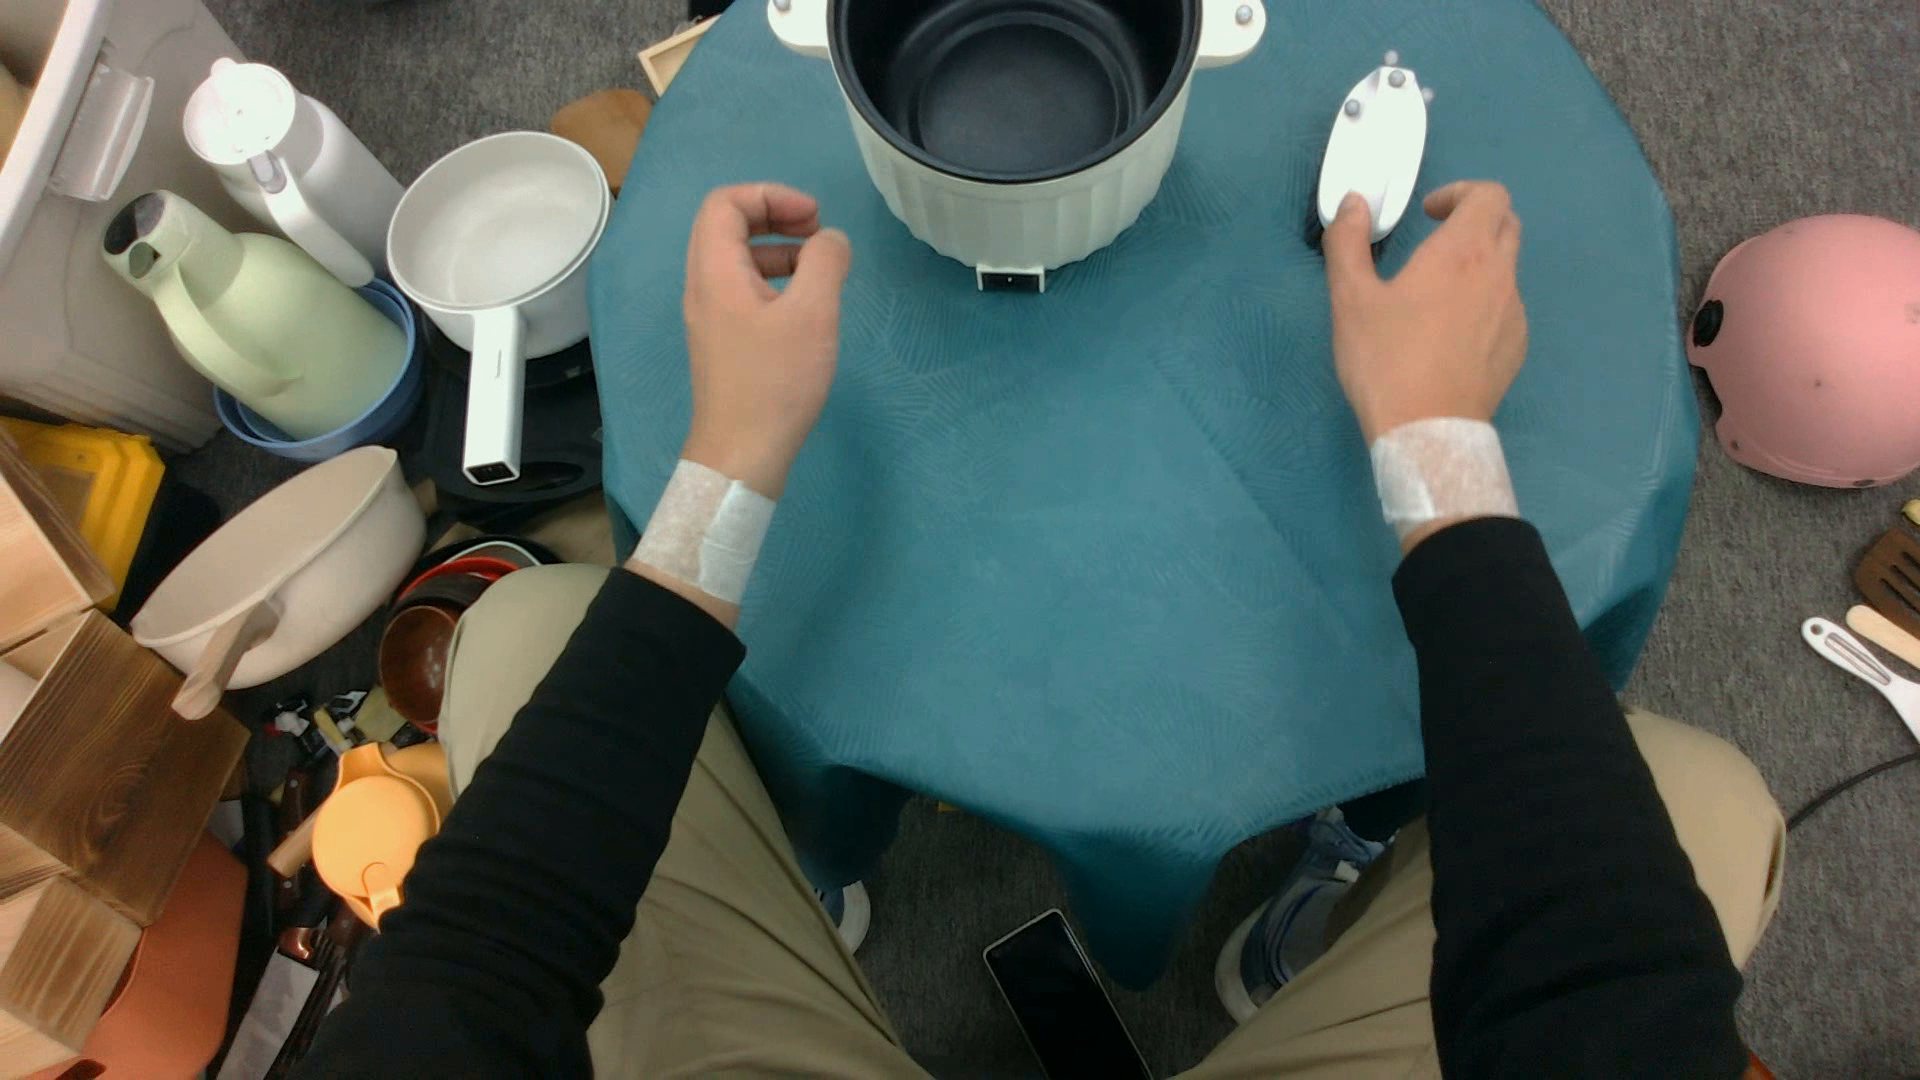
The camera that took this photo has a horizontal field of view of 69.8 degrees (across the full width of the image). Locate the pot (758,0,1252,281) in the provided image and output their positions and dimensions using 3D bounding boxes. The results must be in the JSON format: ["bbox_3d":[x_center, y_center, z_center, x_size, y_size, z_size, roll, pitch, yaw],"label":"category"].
[{"bbox_3d":[0.023,-0.249,0.730,0.240,0.142,0.191,2,79,2],"label":"pot"}]

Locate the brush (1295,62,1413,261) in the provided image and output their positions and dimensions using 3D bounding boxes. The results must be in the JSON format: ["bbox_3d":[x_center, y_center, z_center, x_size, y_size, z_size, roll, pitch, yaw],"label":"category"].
[{"bbox_3d":[0.217,-0.211,0.745,0.050,0.072,0.099,16,77,8],"label":"brush"}]
